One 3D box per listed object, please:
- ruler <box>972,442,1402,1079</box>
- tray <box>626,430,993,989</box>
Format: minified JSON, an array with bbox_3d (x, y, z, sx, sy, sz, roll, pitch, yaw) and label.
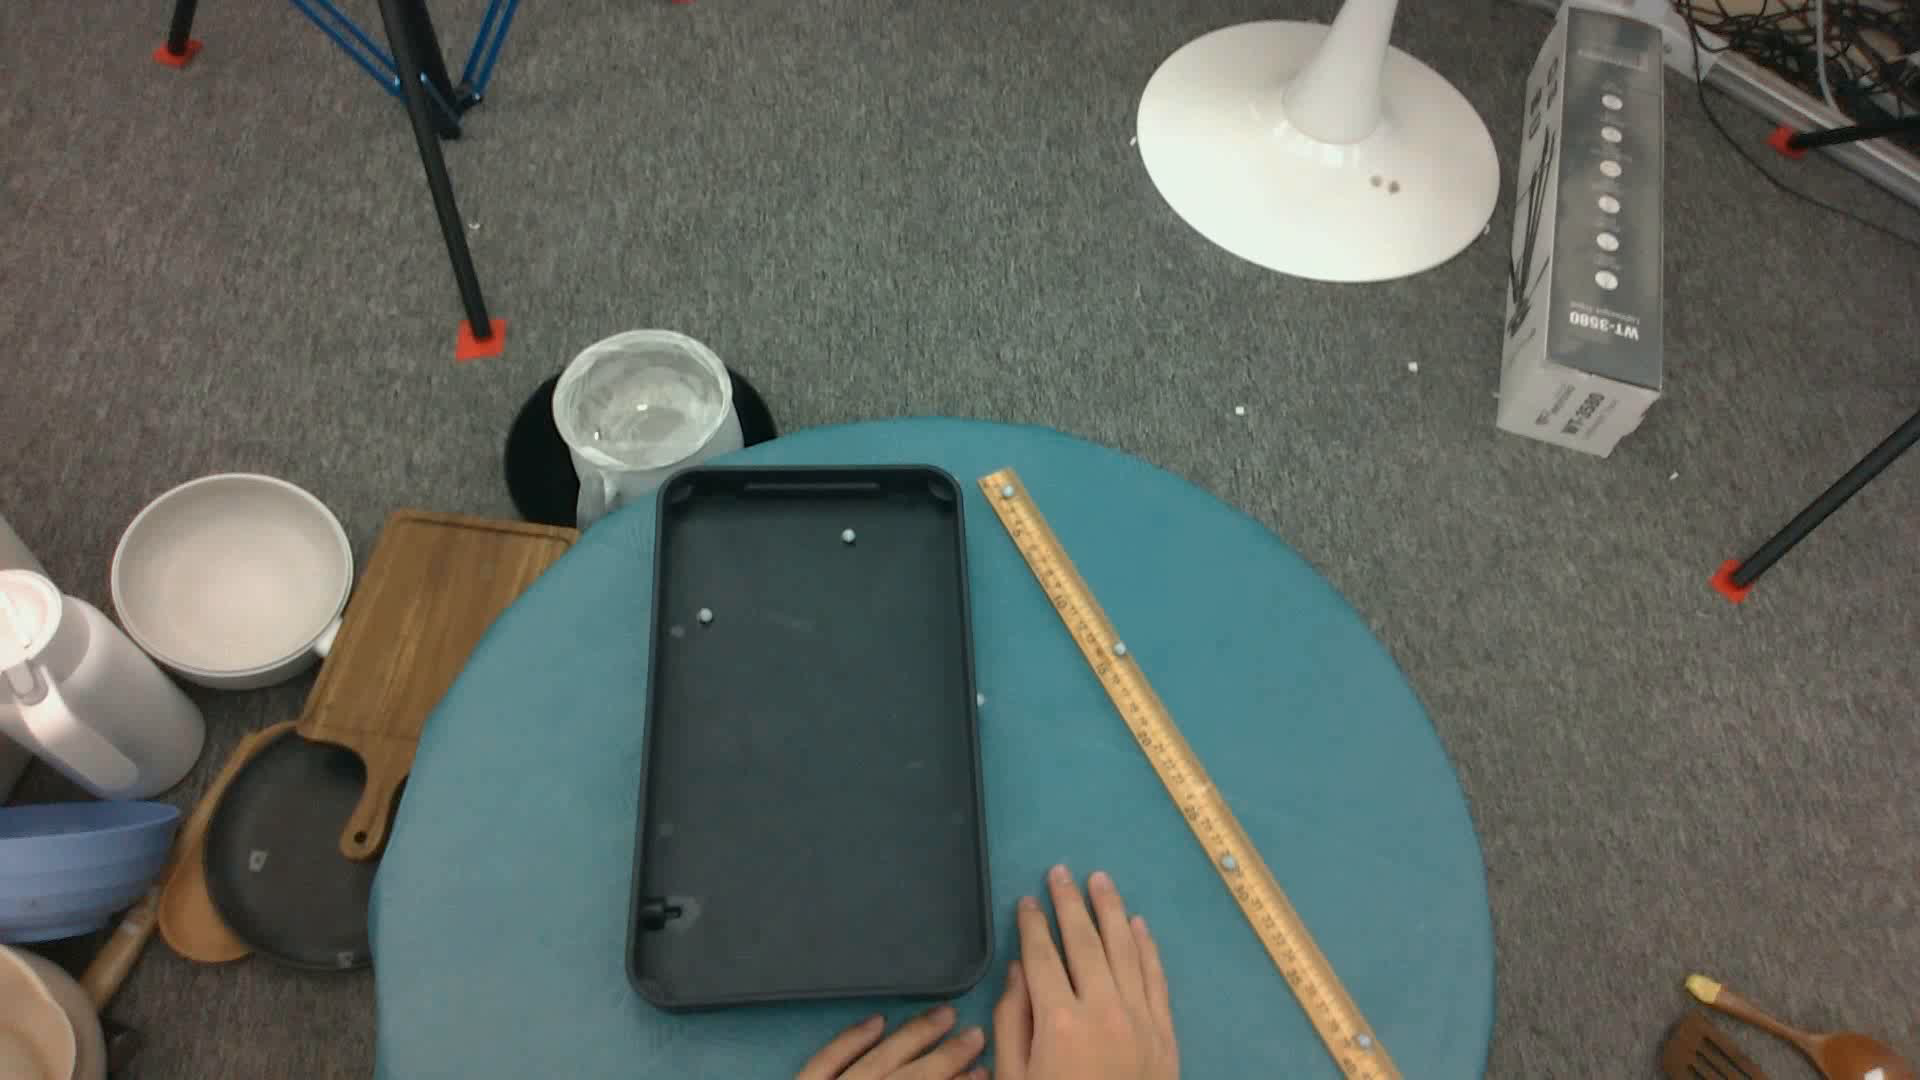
[{"bbox_3d":[0.132,0.140,0.777,0.027,0.006,0.501,-23,65,-15],"label":"ruler"},{"bbox_3d":[-0.088,0.082,0.770,0.184,0.037,0.319,-2,61,-7],"label":"tray"}]
